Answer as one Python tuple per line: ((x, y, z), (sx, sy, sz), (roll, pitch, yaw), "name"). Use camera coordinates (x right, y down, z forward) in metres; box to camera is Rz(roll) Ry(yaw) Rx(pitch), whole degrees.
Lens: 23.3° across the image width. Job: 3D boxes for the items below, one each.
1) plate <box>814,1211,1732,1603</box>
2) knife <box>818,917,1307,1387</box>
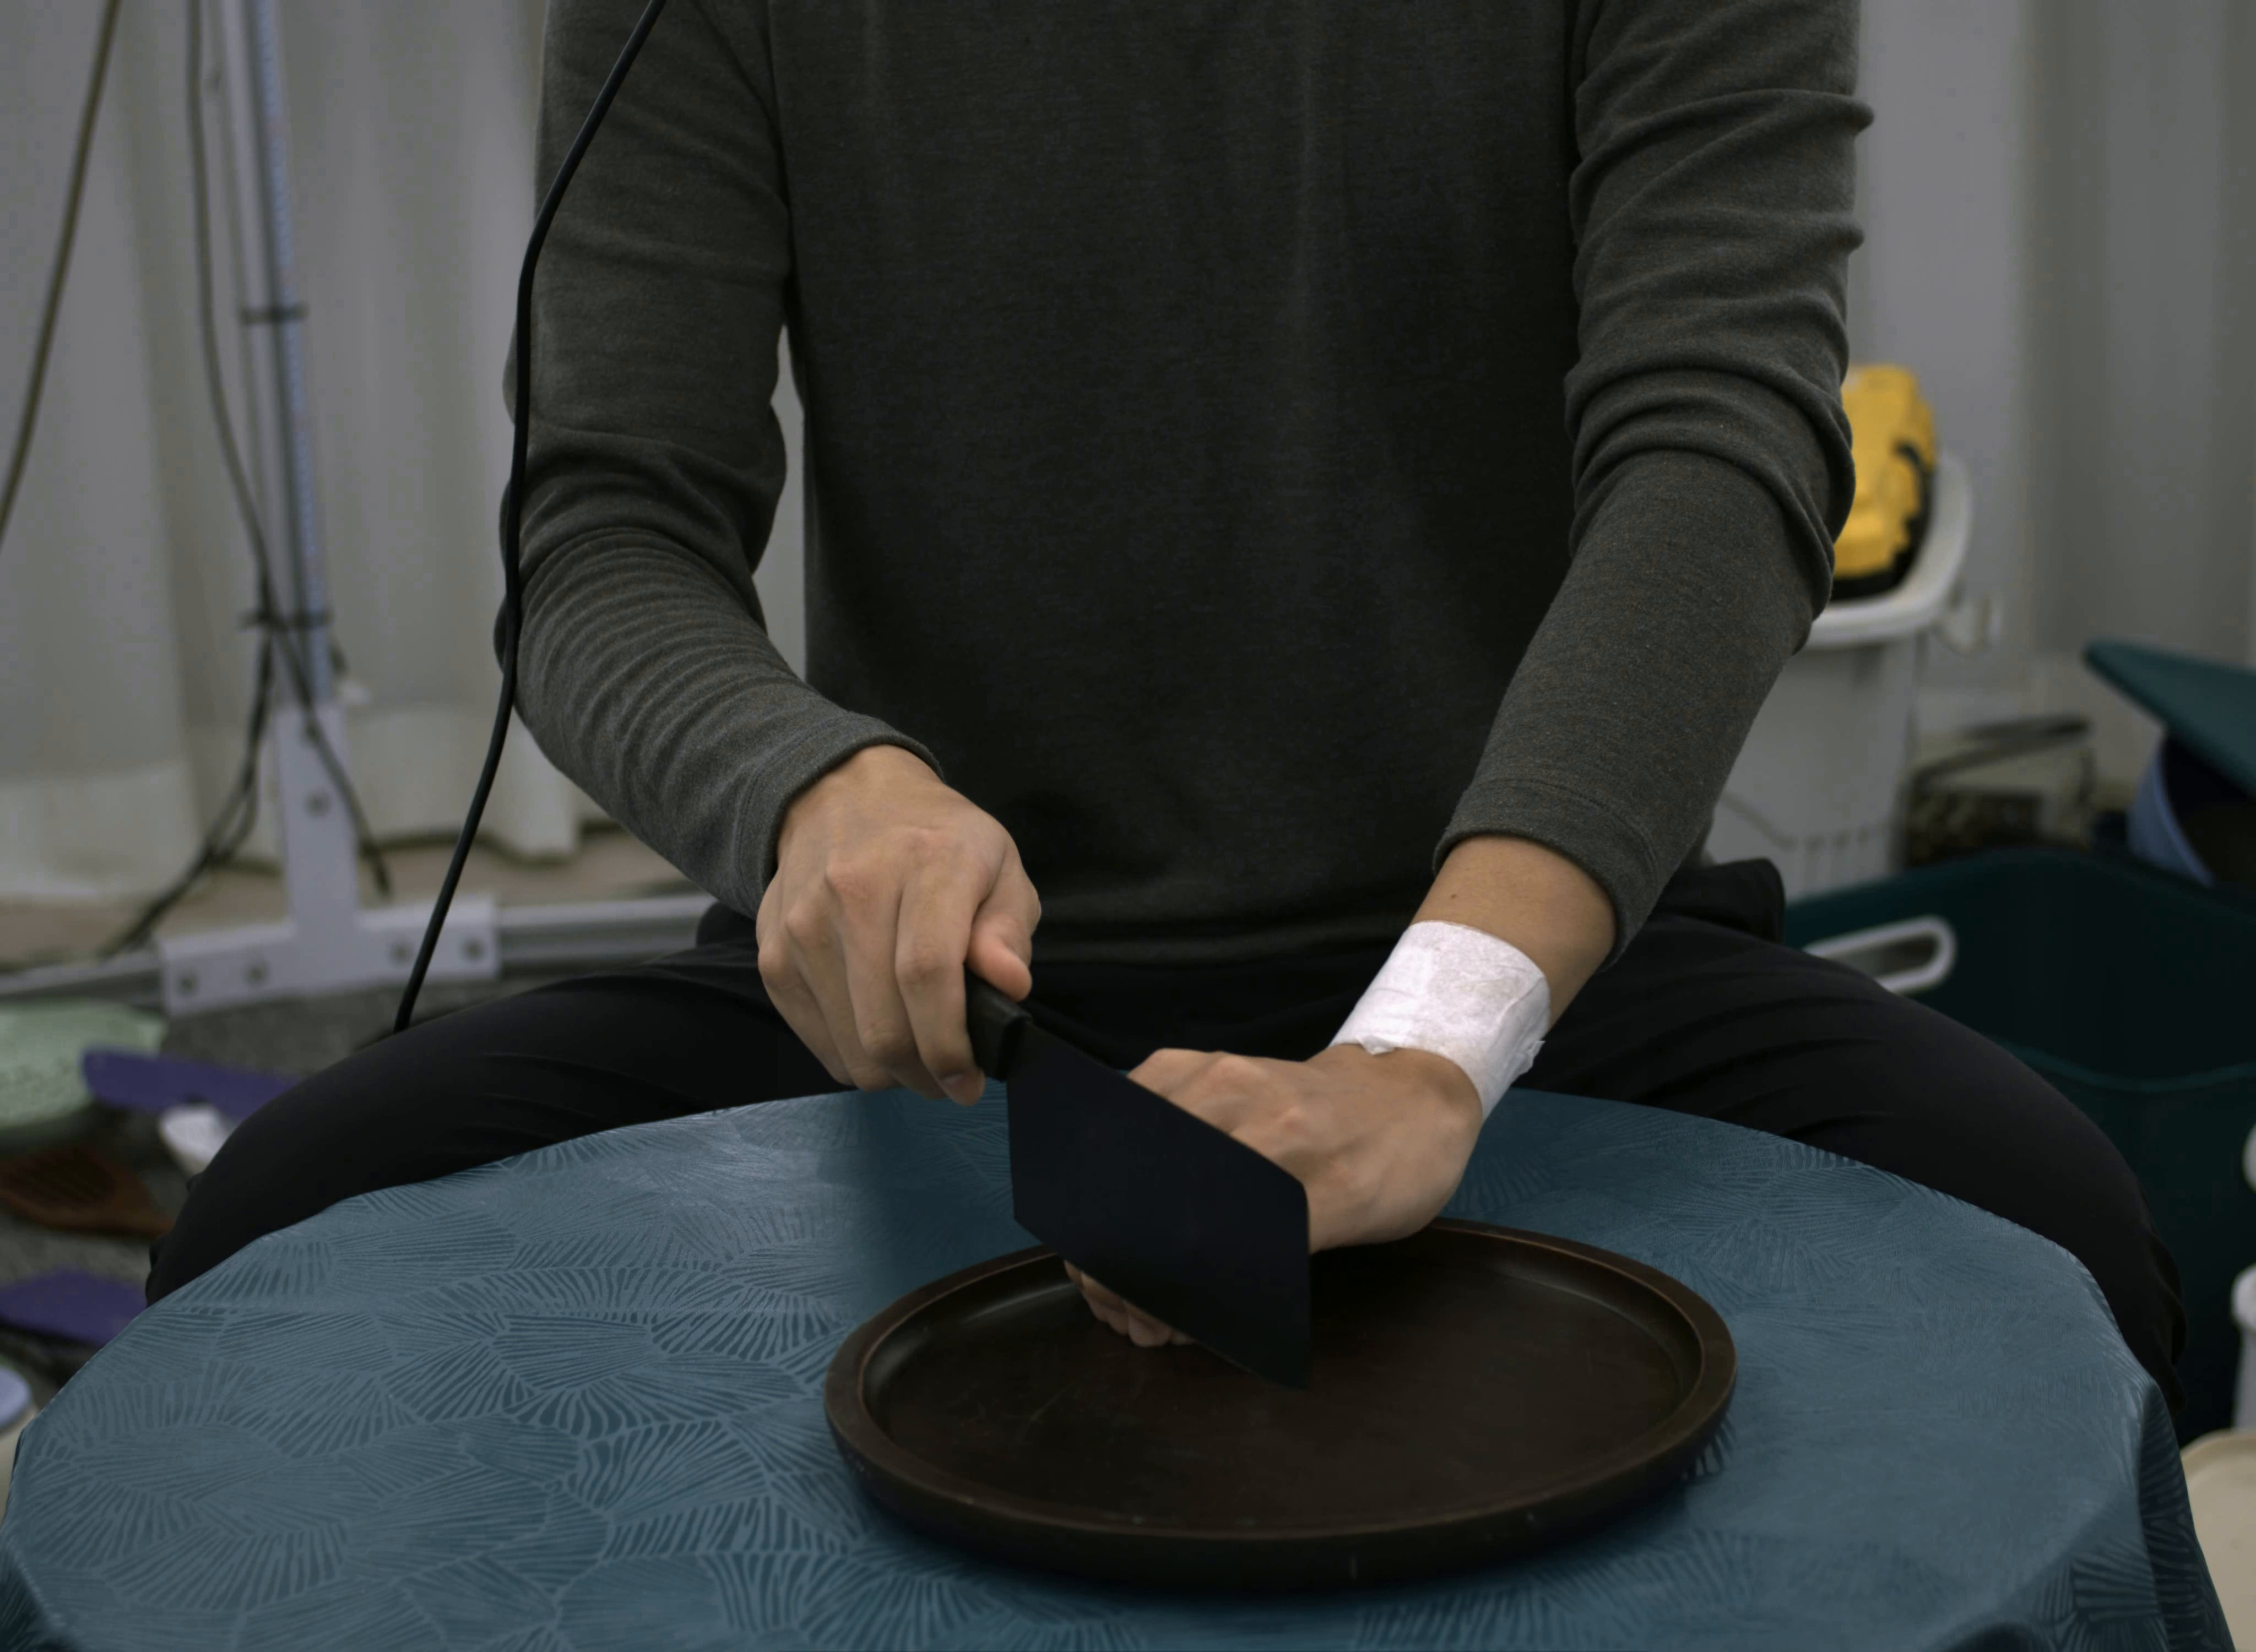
((0.040, 0.157, 1.507), (0.254, 0.029, 0.256), (-4, 15, 1), "plate")
((-0.021, 0.085, 1.549), (0.021, 0.080, 0.305), (-7, 20, -25), "knife")
